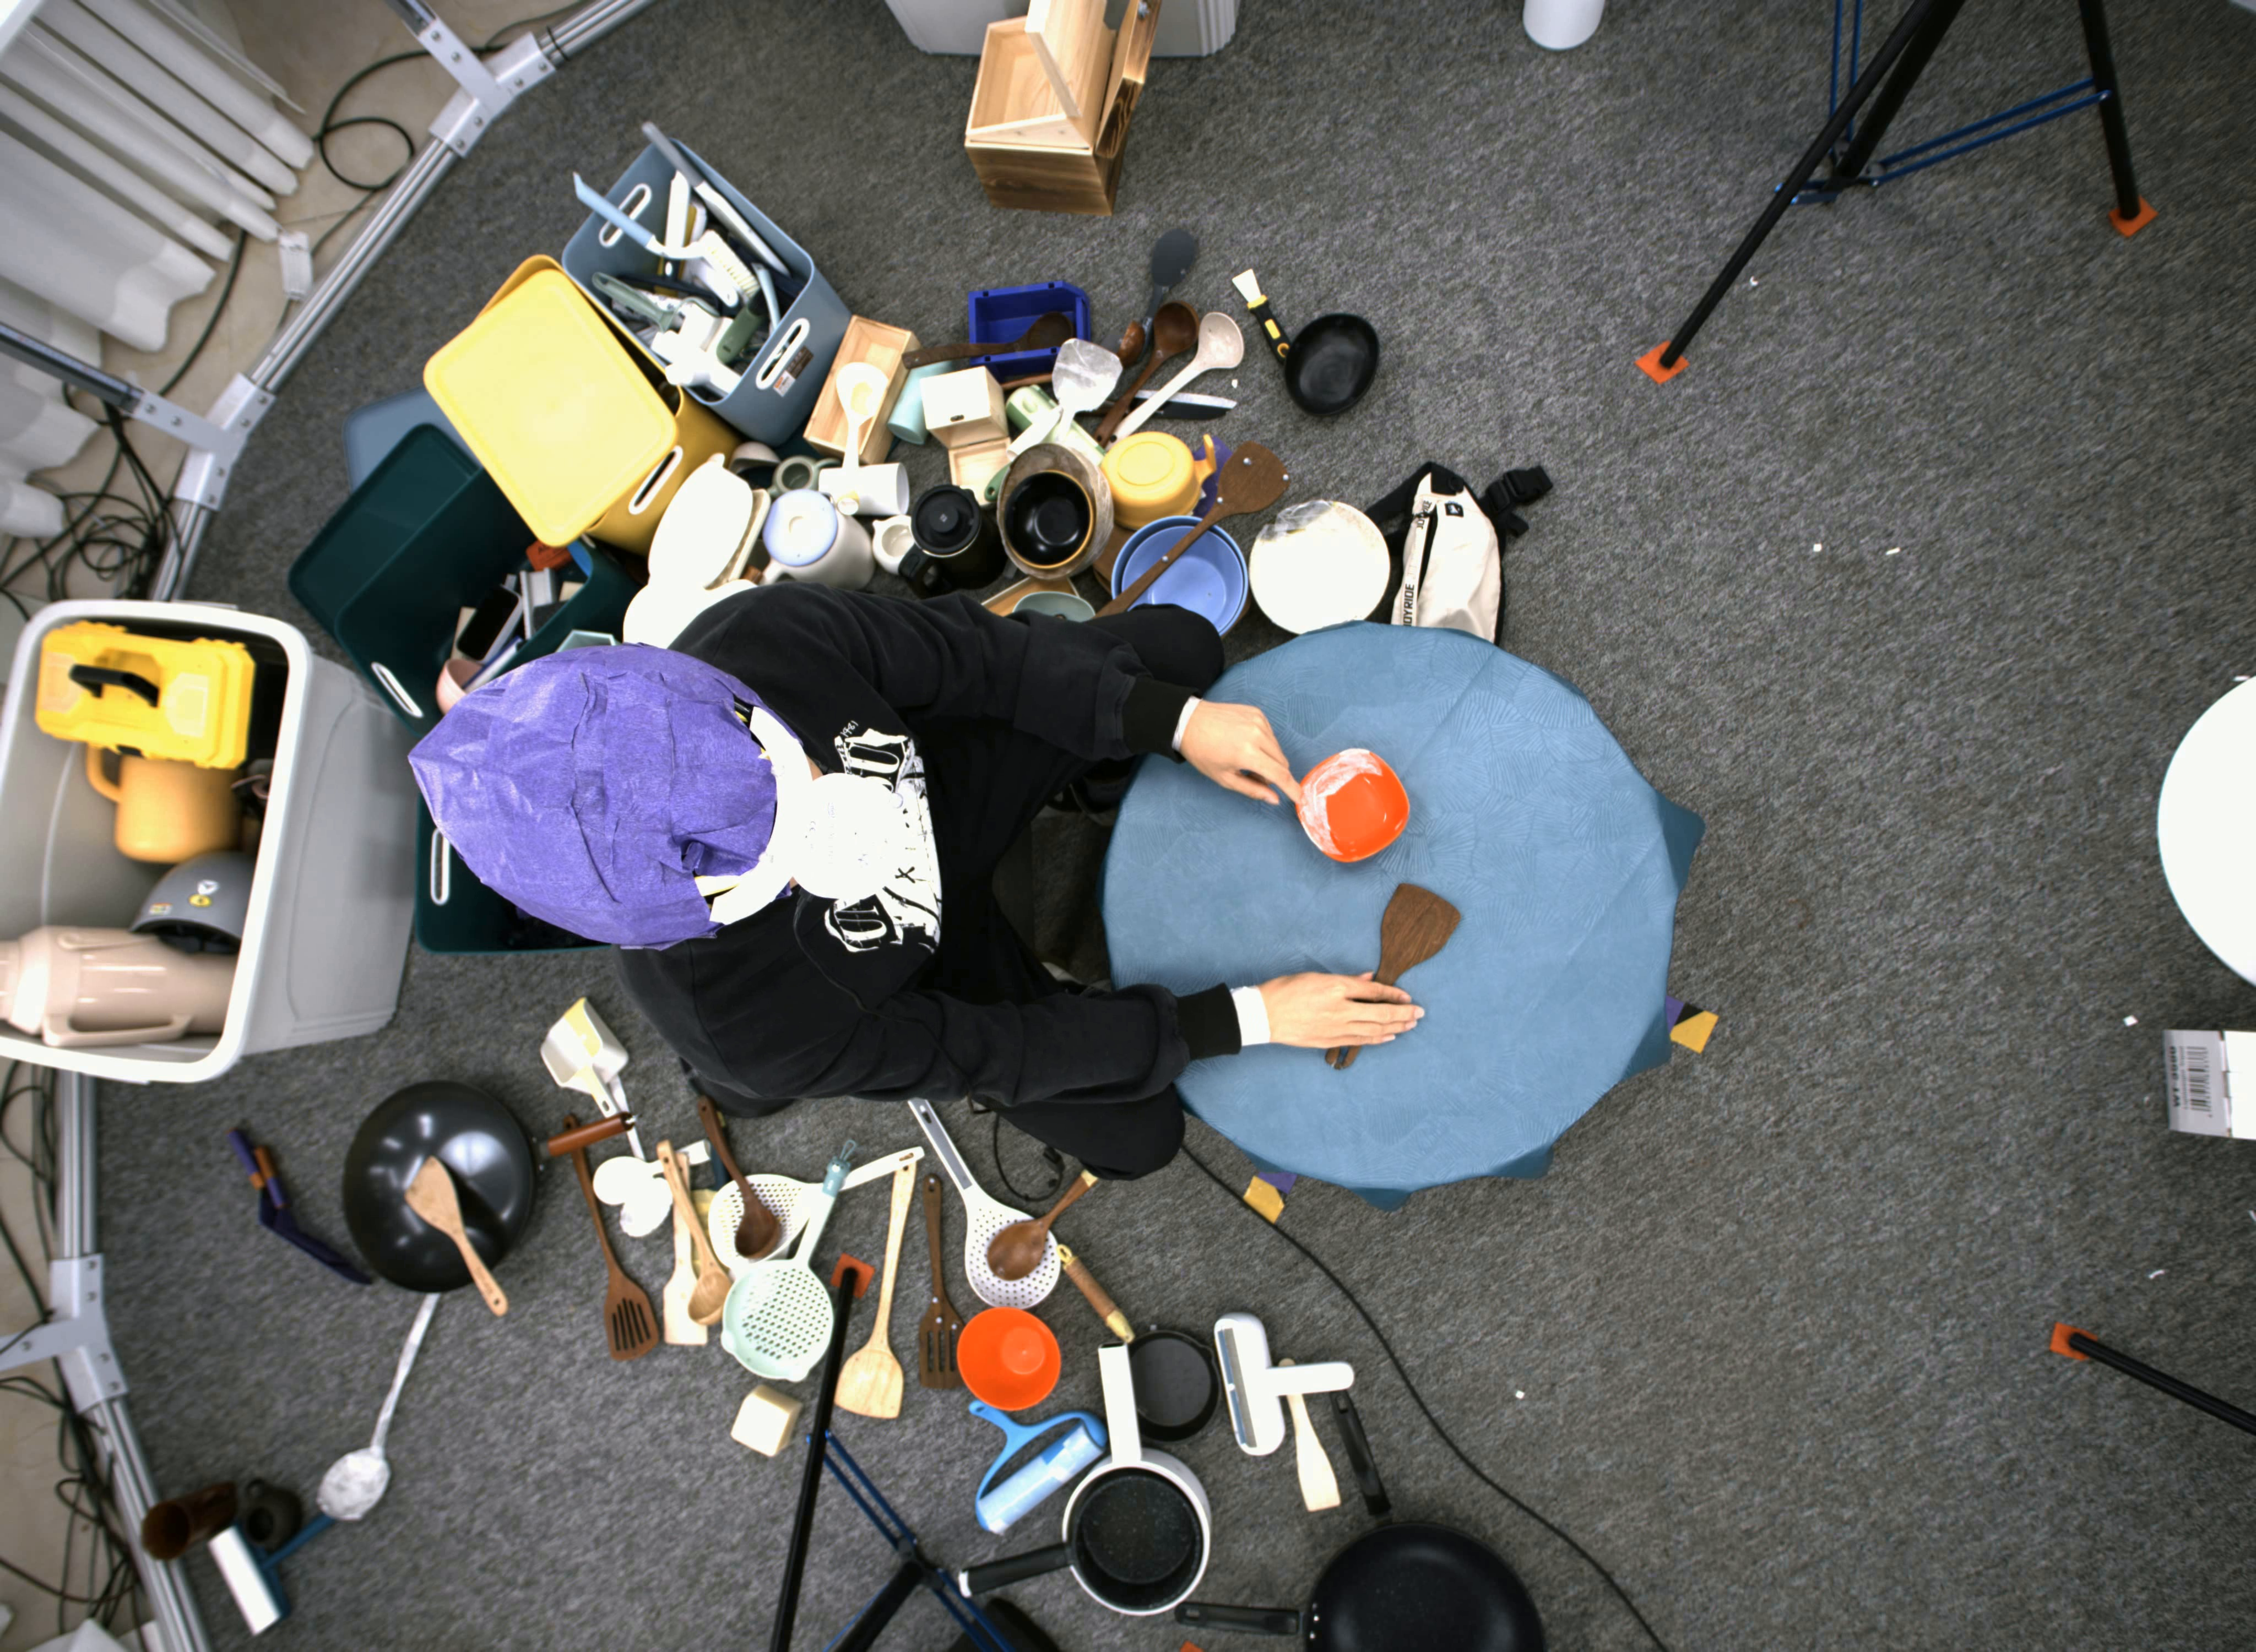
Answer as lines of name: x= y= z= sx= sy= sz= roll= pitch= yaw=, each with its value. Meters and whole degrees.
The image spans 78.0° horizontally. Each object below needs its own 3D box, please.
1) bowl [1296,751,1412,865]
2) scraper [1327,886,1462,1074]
bowl: x=0.237 y=-0.017 z=1.452 sx=0.119 sy=0.051 sz=0.118 roll=-1 pitch=87 yaw=8
scraper: x=0.271 y=0.165 z=1.454 sx=0.075 sy=0.011 sz=0.211 roll=31 pitch=92 yaw=12
